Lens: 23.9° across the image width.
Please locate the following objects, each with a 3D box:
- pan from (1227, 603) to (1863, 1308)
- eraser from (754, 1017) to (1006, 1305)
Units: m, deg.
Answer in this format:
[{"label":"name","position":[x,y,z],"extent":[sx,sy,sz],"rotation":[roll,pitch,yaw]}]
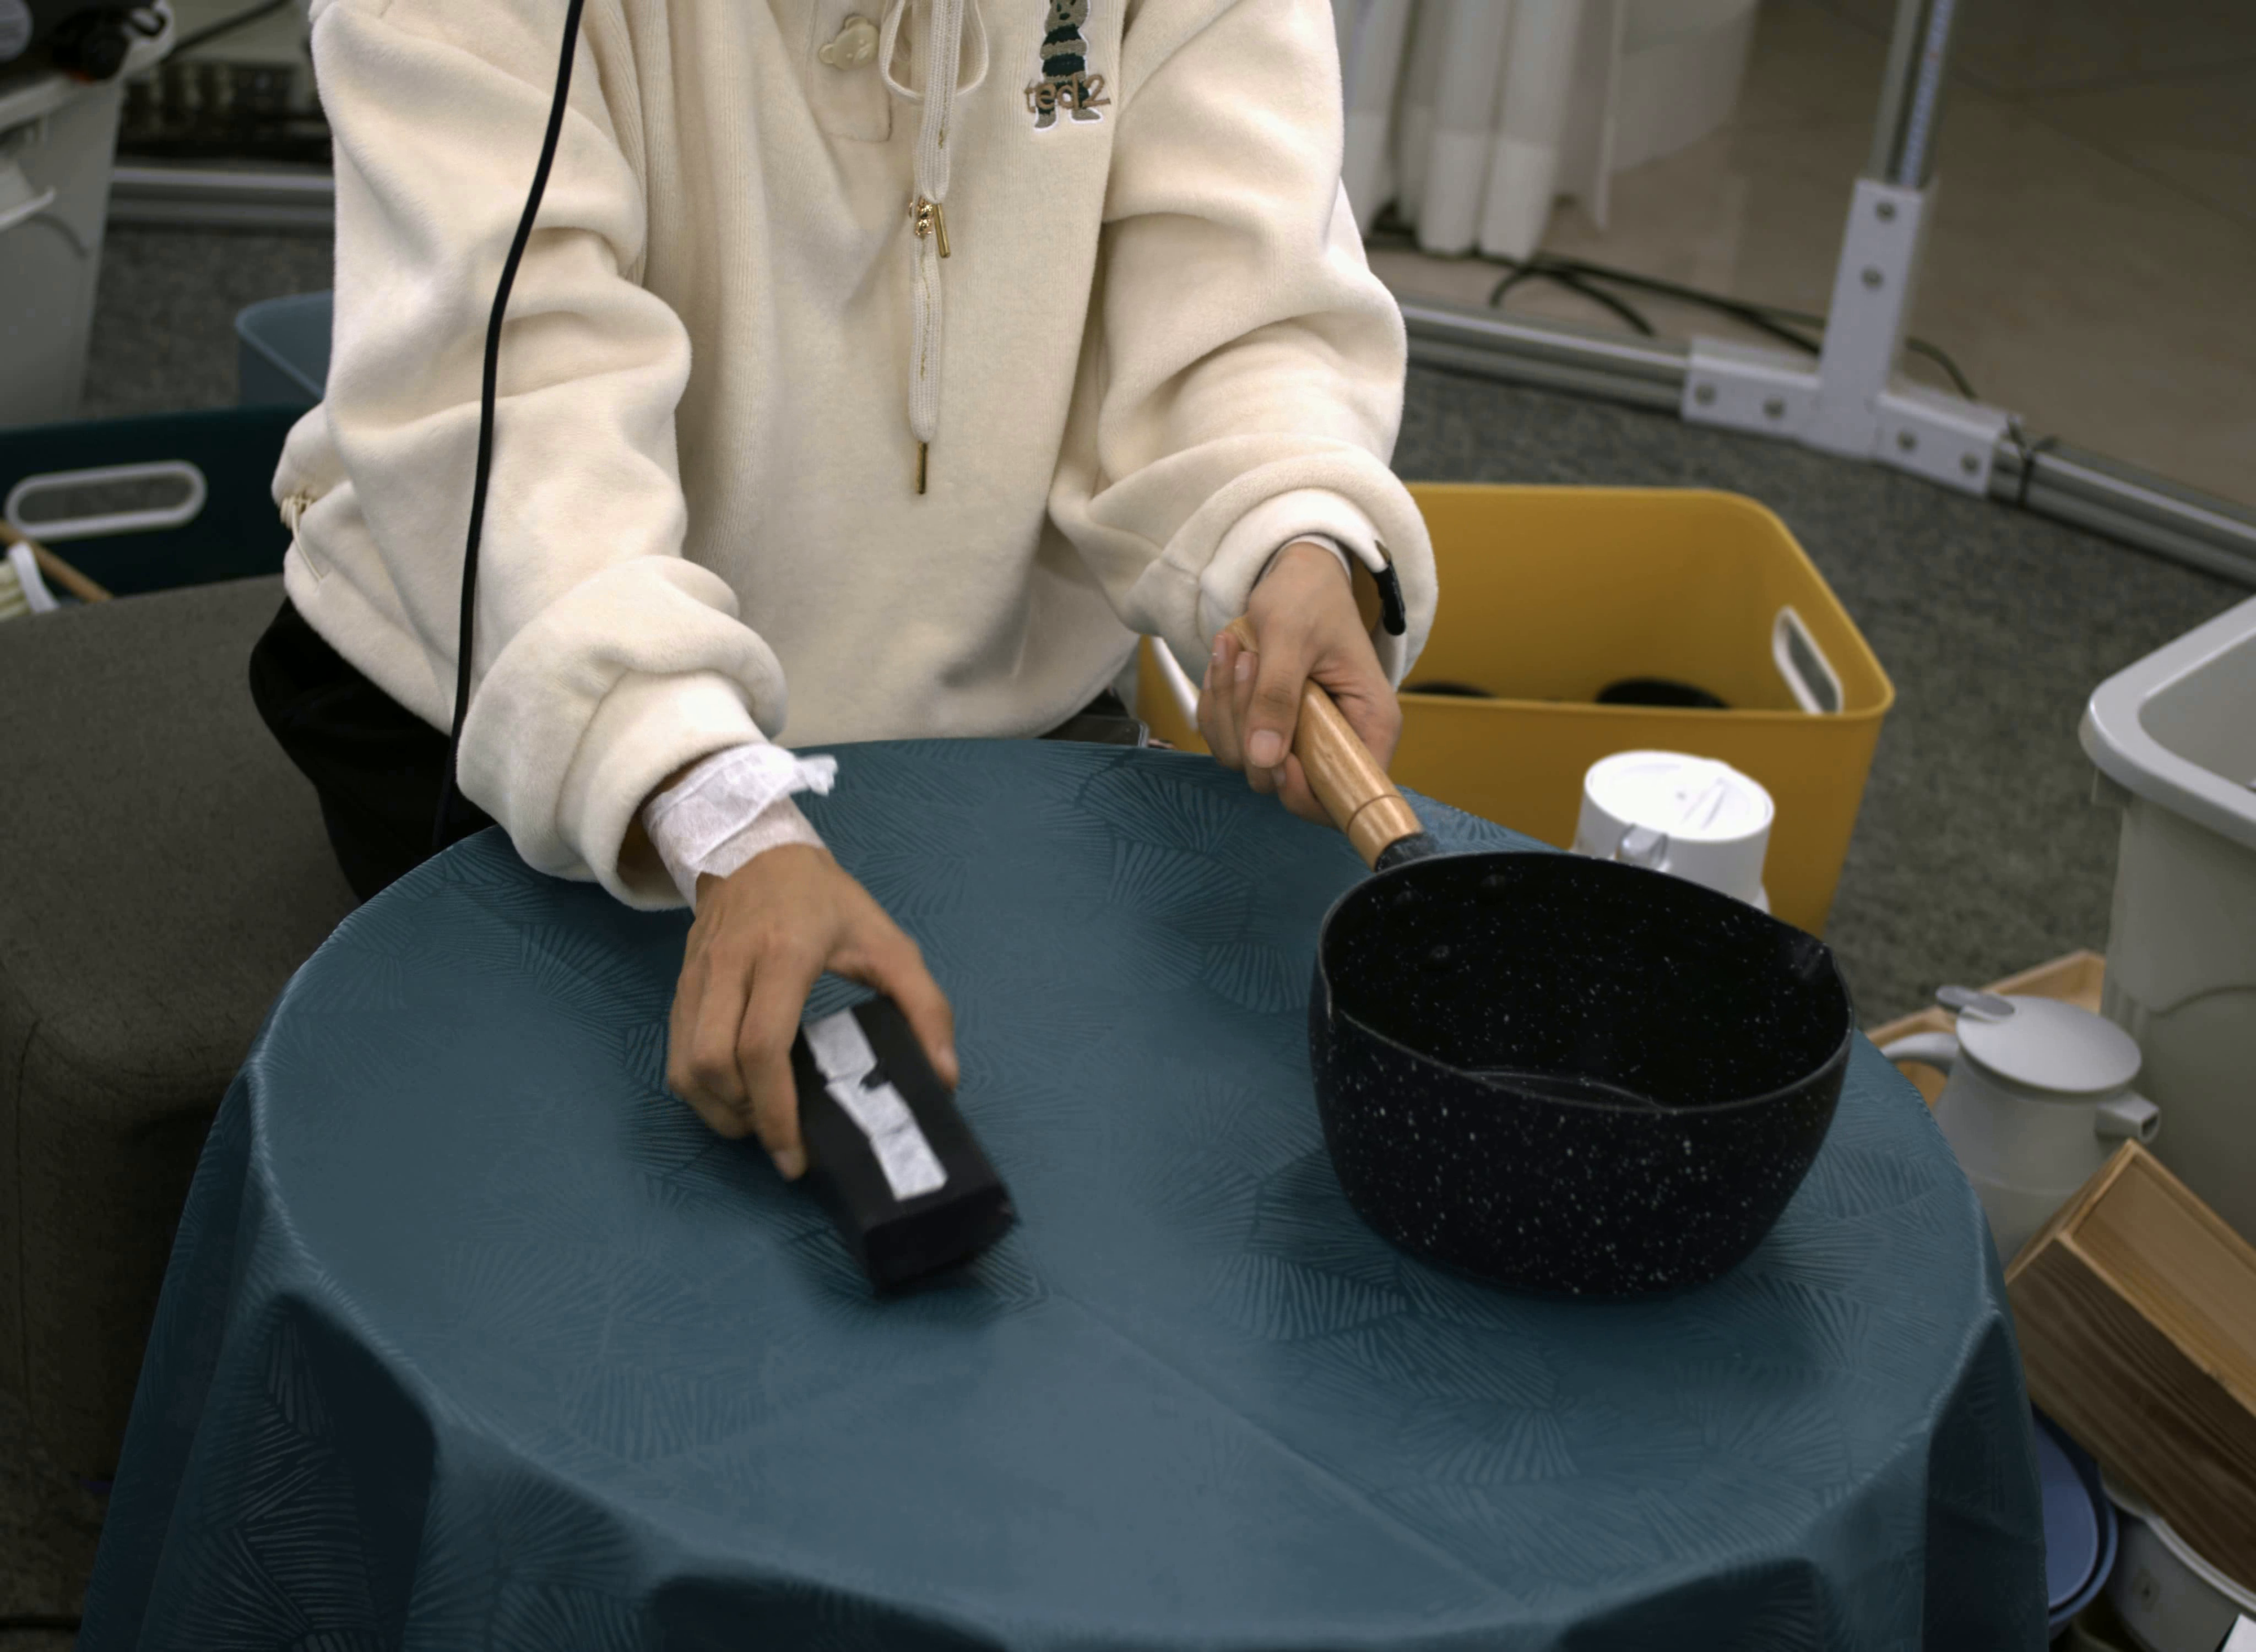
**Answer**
[{"label":"pan","position":[0.115,0.042,1.866],"extent":[0.206,0.108,0.346],"rotation":[-9,32,-27]},{"label":"eraser","position":[-0.082,0.110,1.766],"extent":[0.053,0.030,0.126],"rotation":[-15,32,-12]}]
